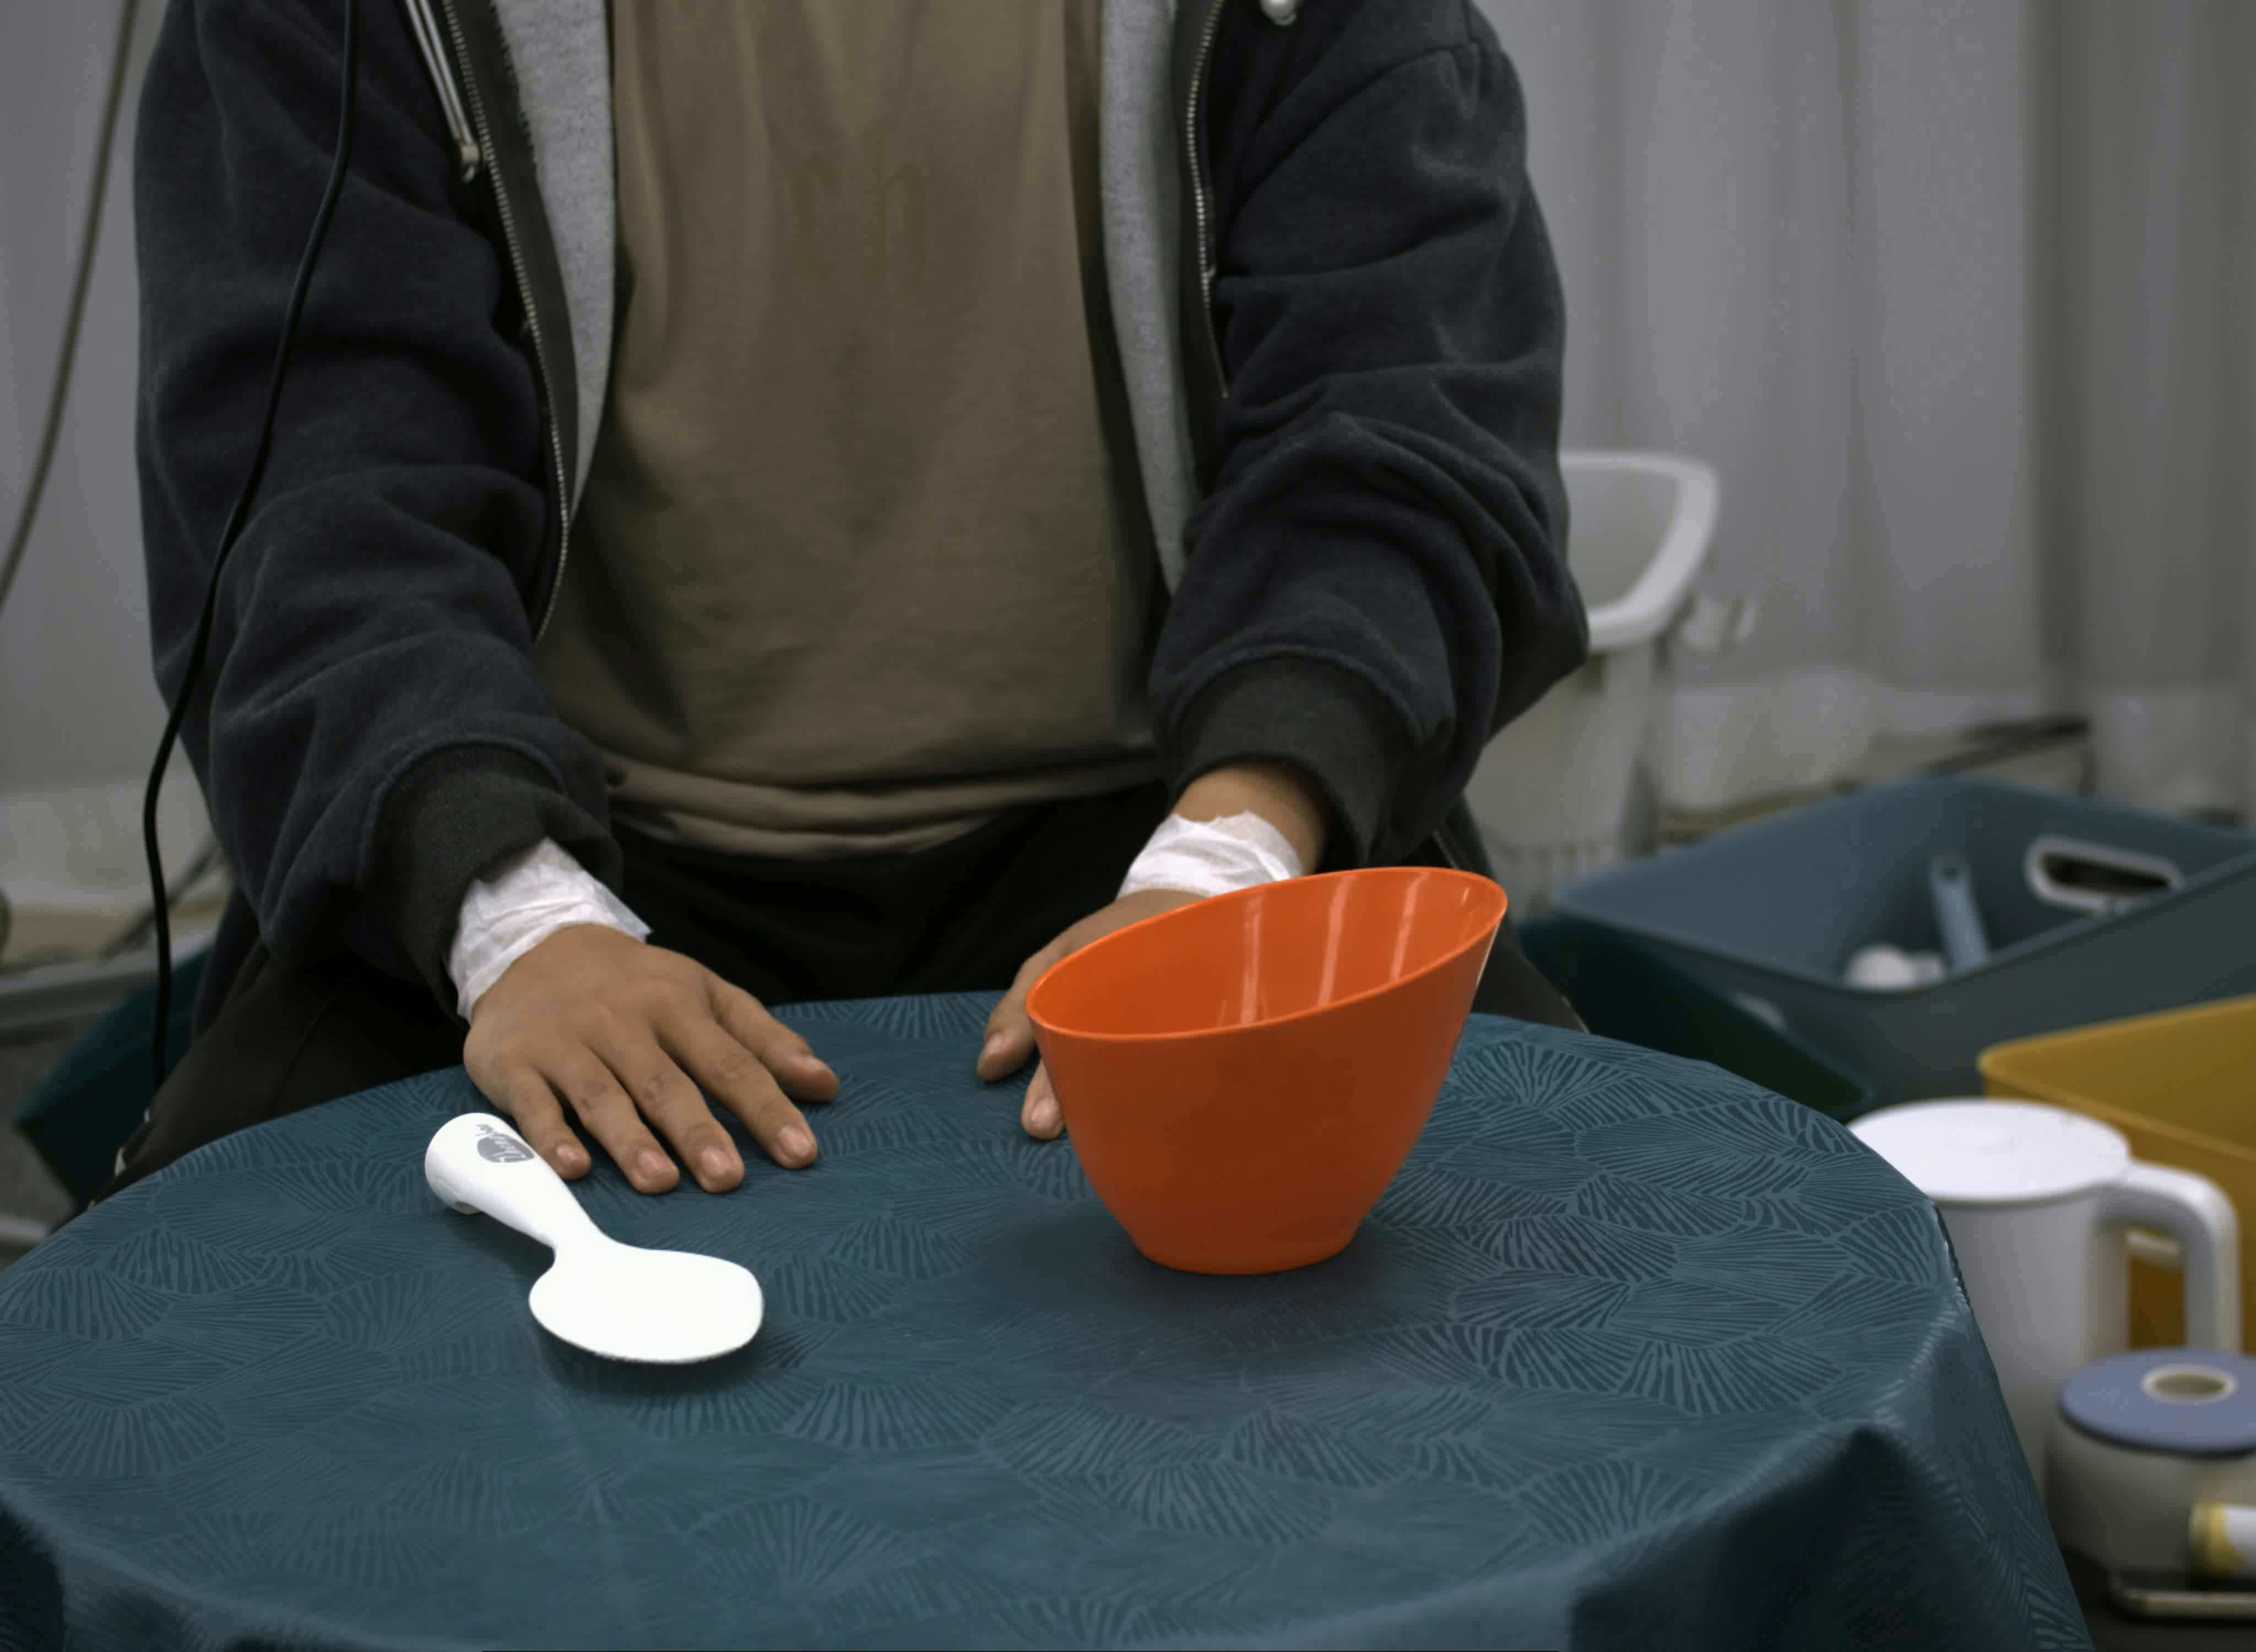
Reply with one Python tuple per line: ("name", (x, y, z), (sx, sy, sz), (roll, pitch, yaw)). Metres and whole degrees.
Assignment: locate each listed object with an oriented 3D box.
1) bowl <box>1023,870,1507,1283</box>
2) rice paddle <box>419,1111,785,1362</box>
("bowl", (0.044, 0.078, 1.652), (0.147, 0.104, 0.149), (-4, 15, 1))
("rice paddle", (-0.163, 0.126, 1.648), (0.068, 0.029, 0.207), (-11, 17, -25))
